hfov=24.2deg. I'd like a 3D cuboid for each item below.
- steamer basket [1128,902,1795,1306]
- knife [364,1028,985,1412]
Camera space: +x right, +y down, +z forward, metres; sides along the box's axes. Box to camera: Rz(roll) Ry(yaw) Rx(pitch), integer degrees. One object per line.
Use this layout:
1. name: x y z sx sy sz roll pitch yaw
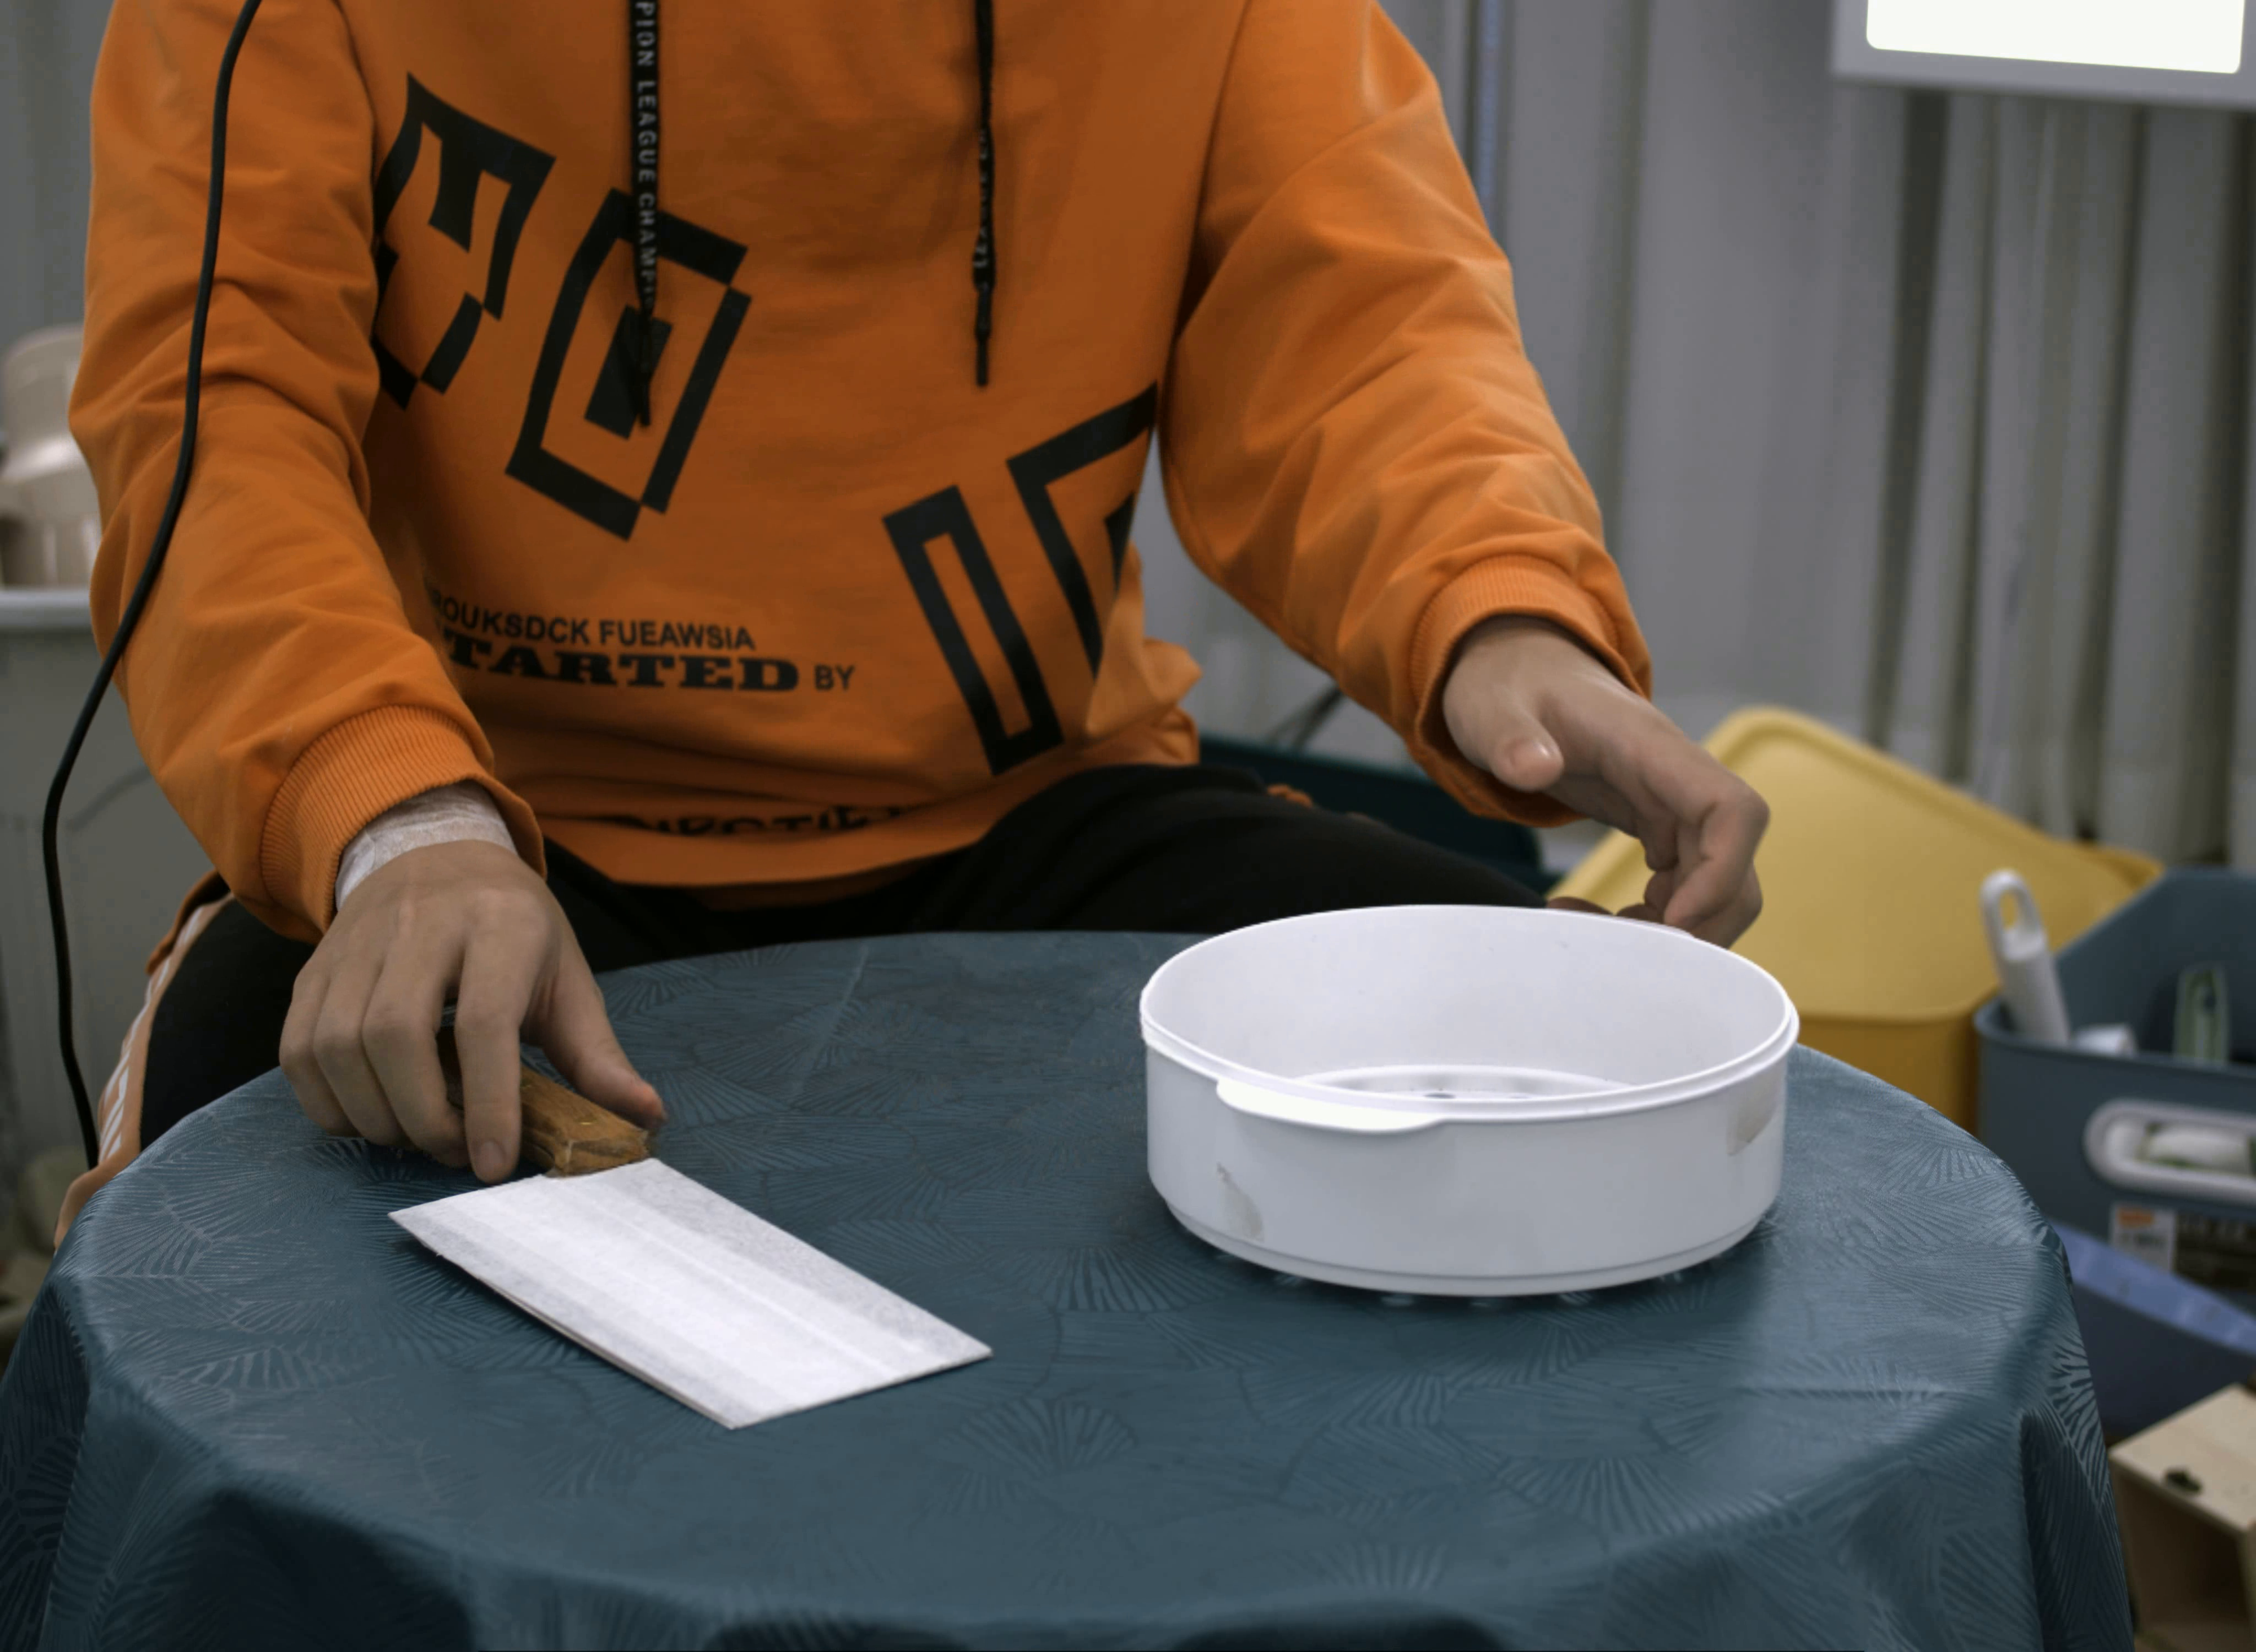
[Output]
1. steamer basket: 0.101 0.084 1.598 0.199 0.070 0.231 8 19 27
2. knife: -0.163 0.117 1.571 0.093 0.021 0.301 -13 23 -35
